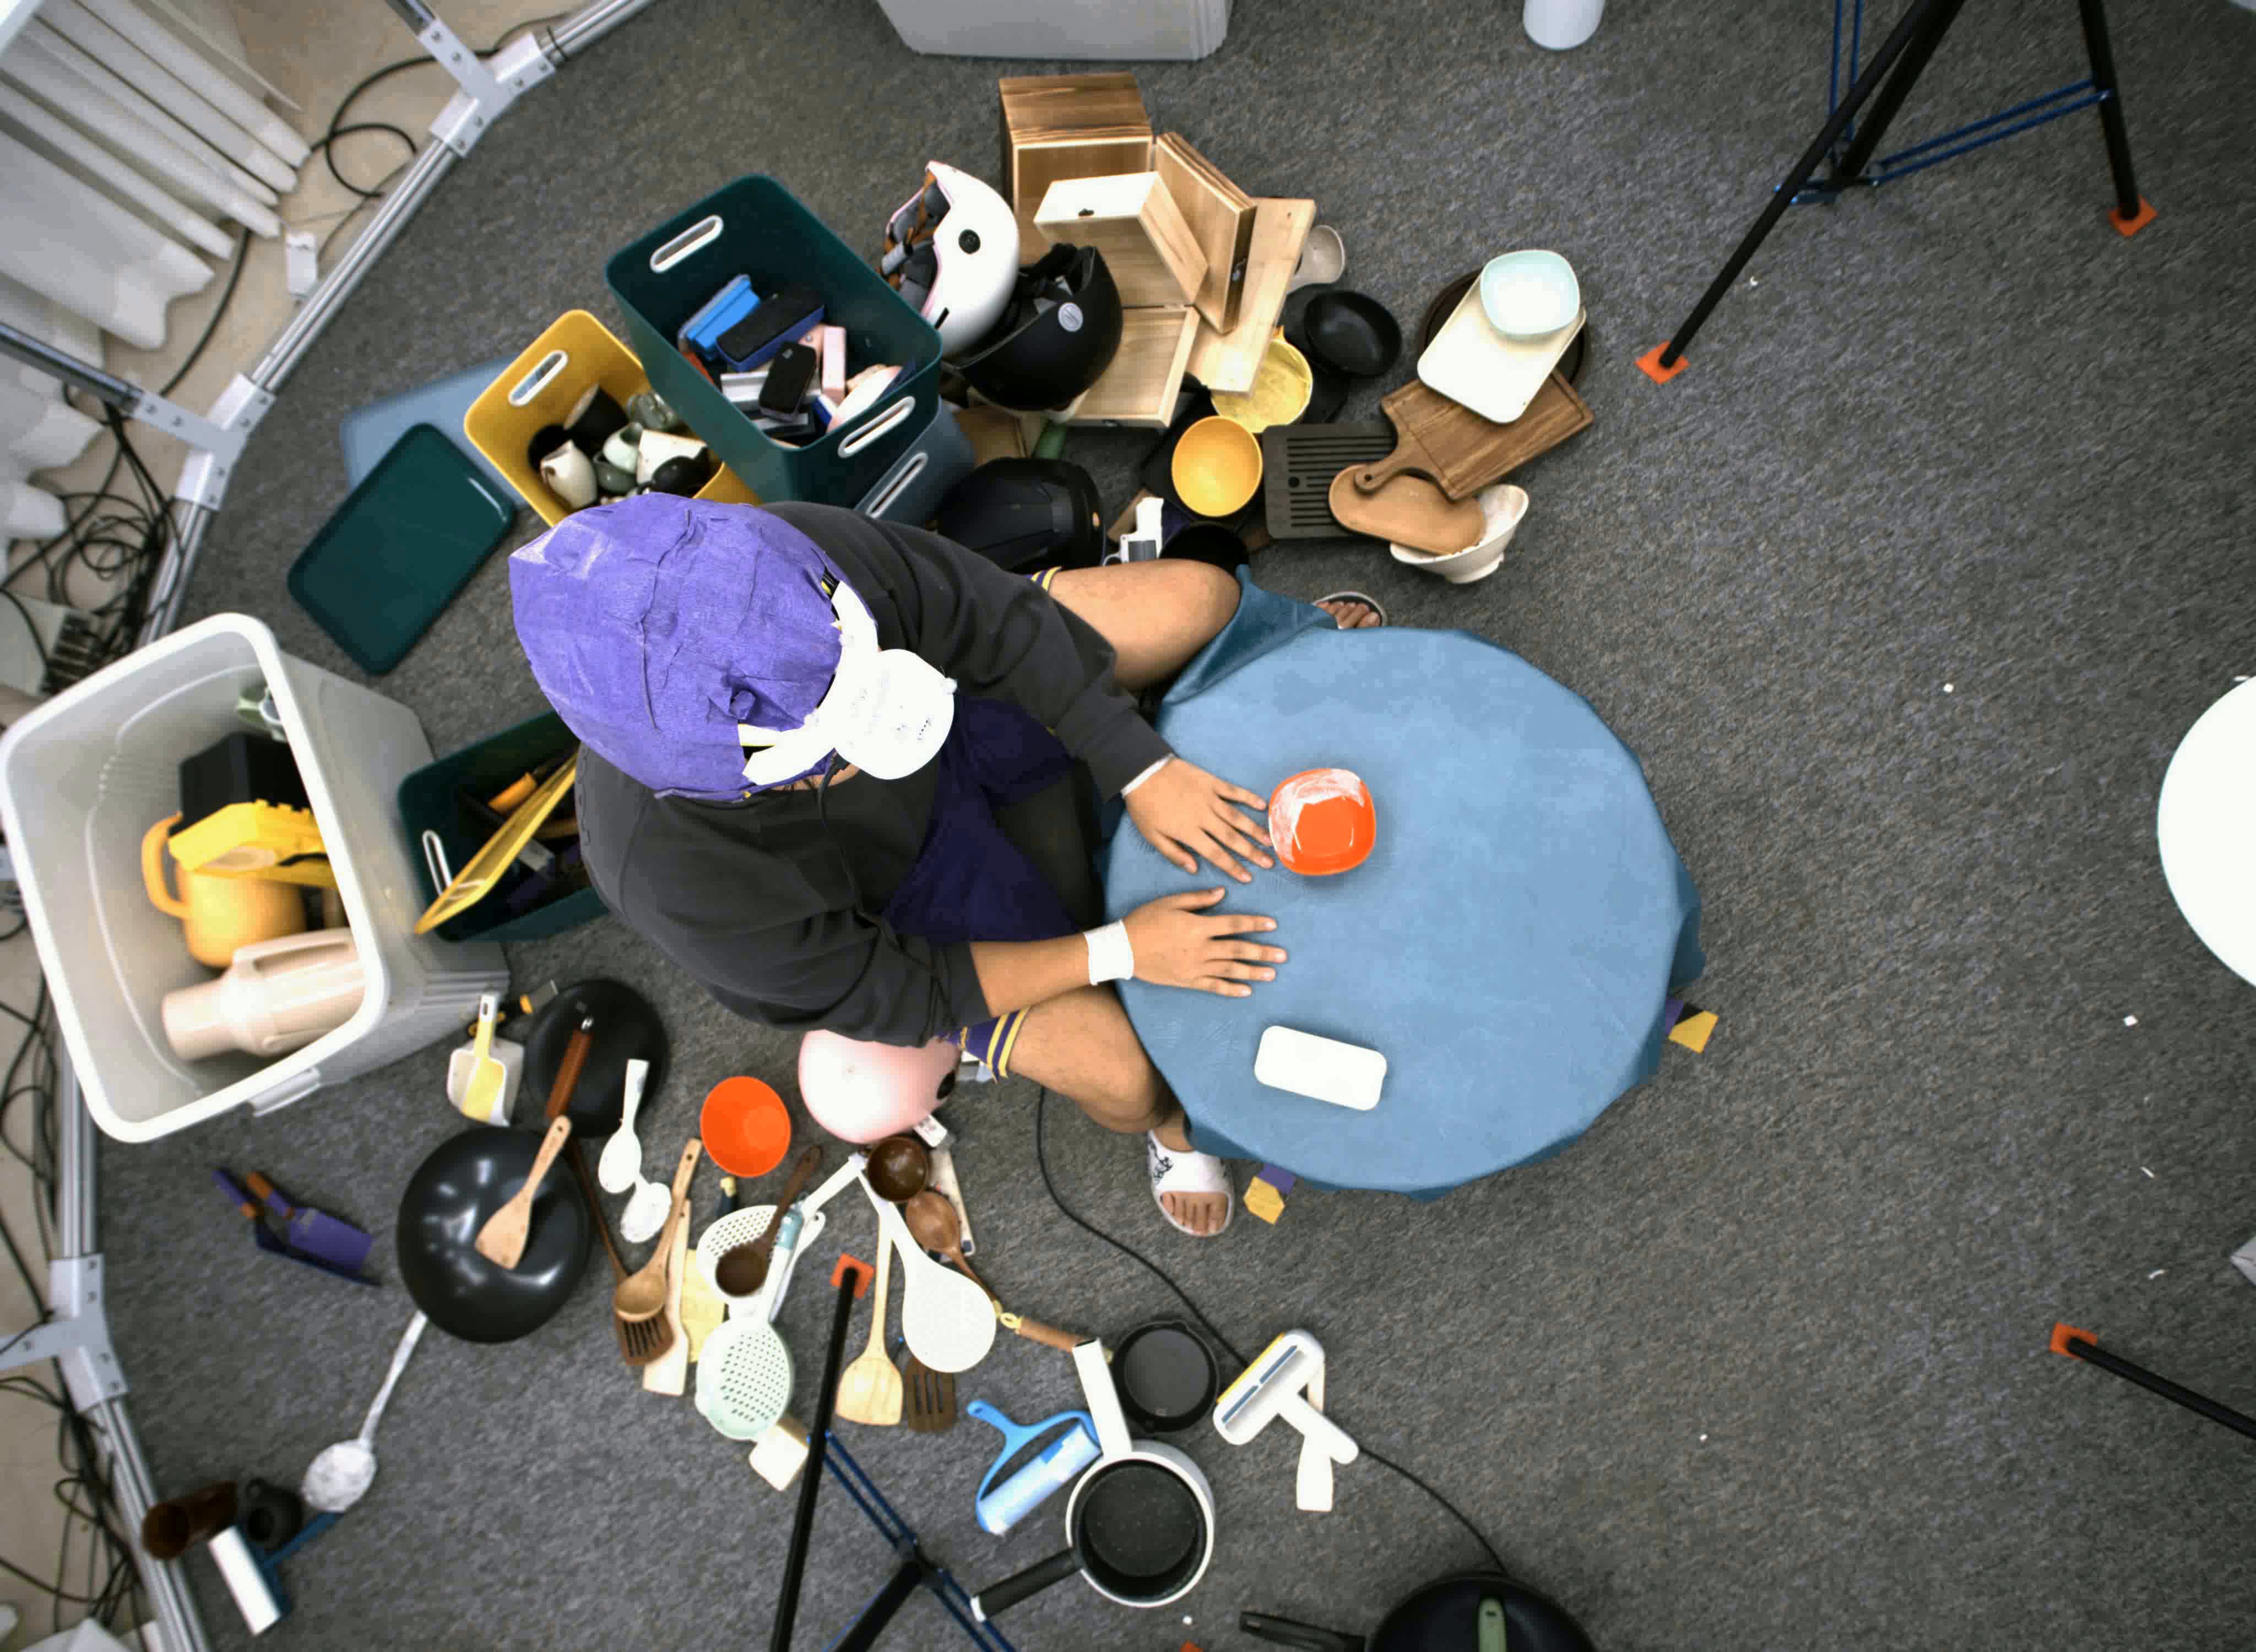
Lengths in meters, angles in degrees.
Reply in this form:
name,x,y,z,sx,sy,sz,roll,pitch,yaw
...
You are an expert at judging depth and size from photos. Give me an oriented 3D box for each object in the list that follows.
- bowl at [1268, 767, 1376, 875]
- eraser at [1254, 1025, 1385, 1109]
name,x,y,z,sx,sy,sz,roll,pitch,yaw
bowl,0.204,-0.004,1.450,0.119,0.051,0.118,-1,87,10
eraser,0.200,0.248,1.446,0.131,0.034,0.063,15,88,9
